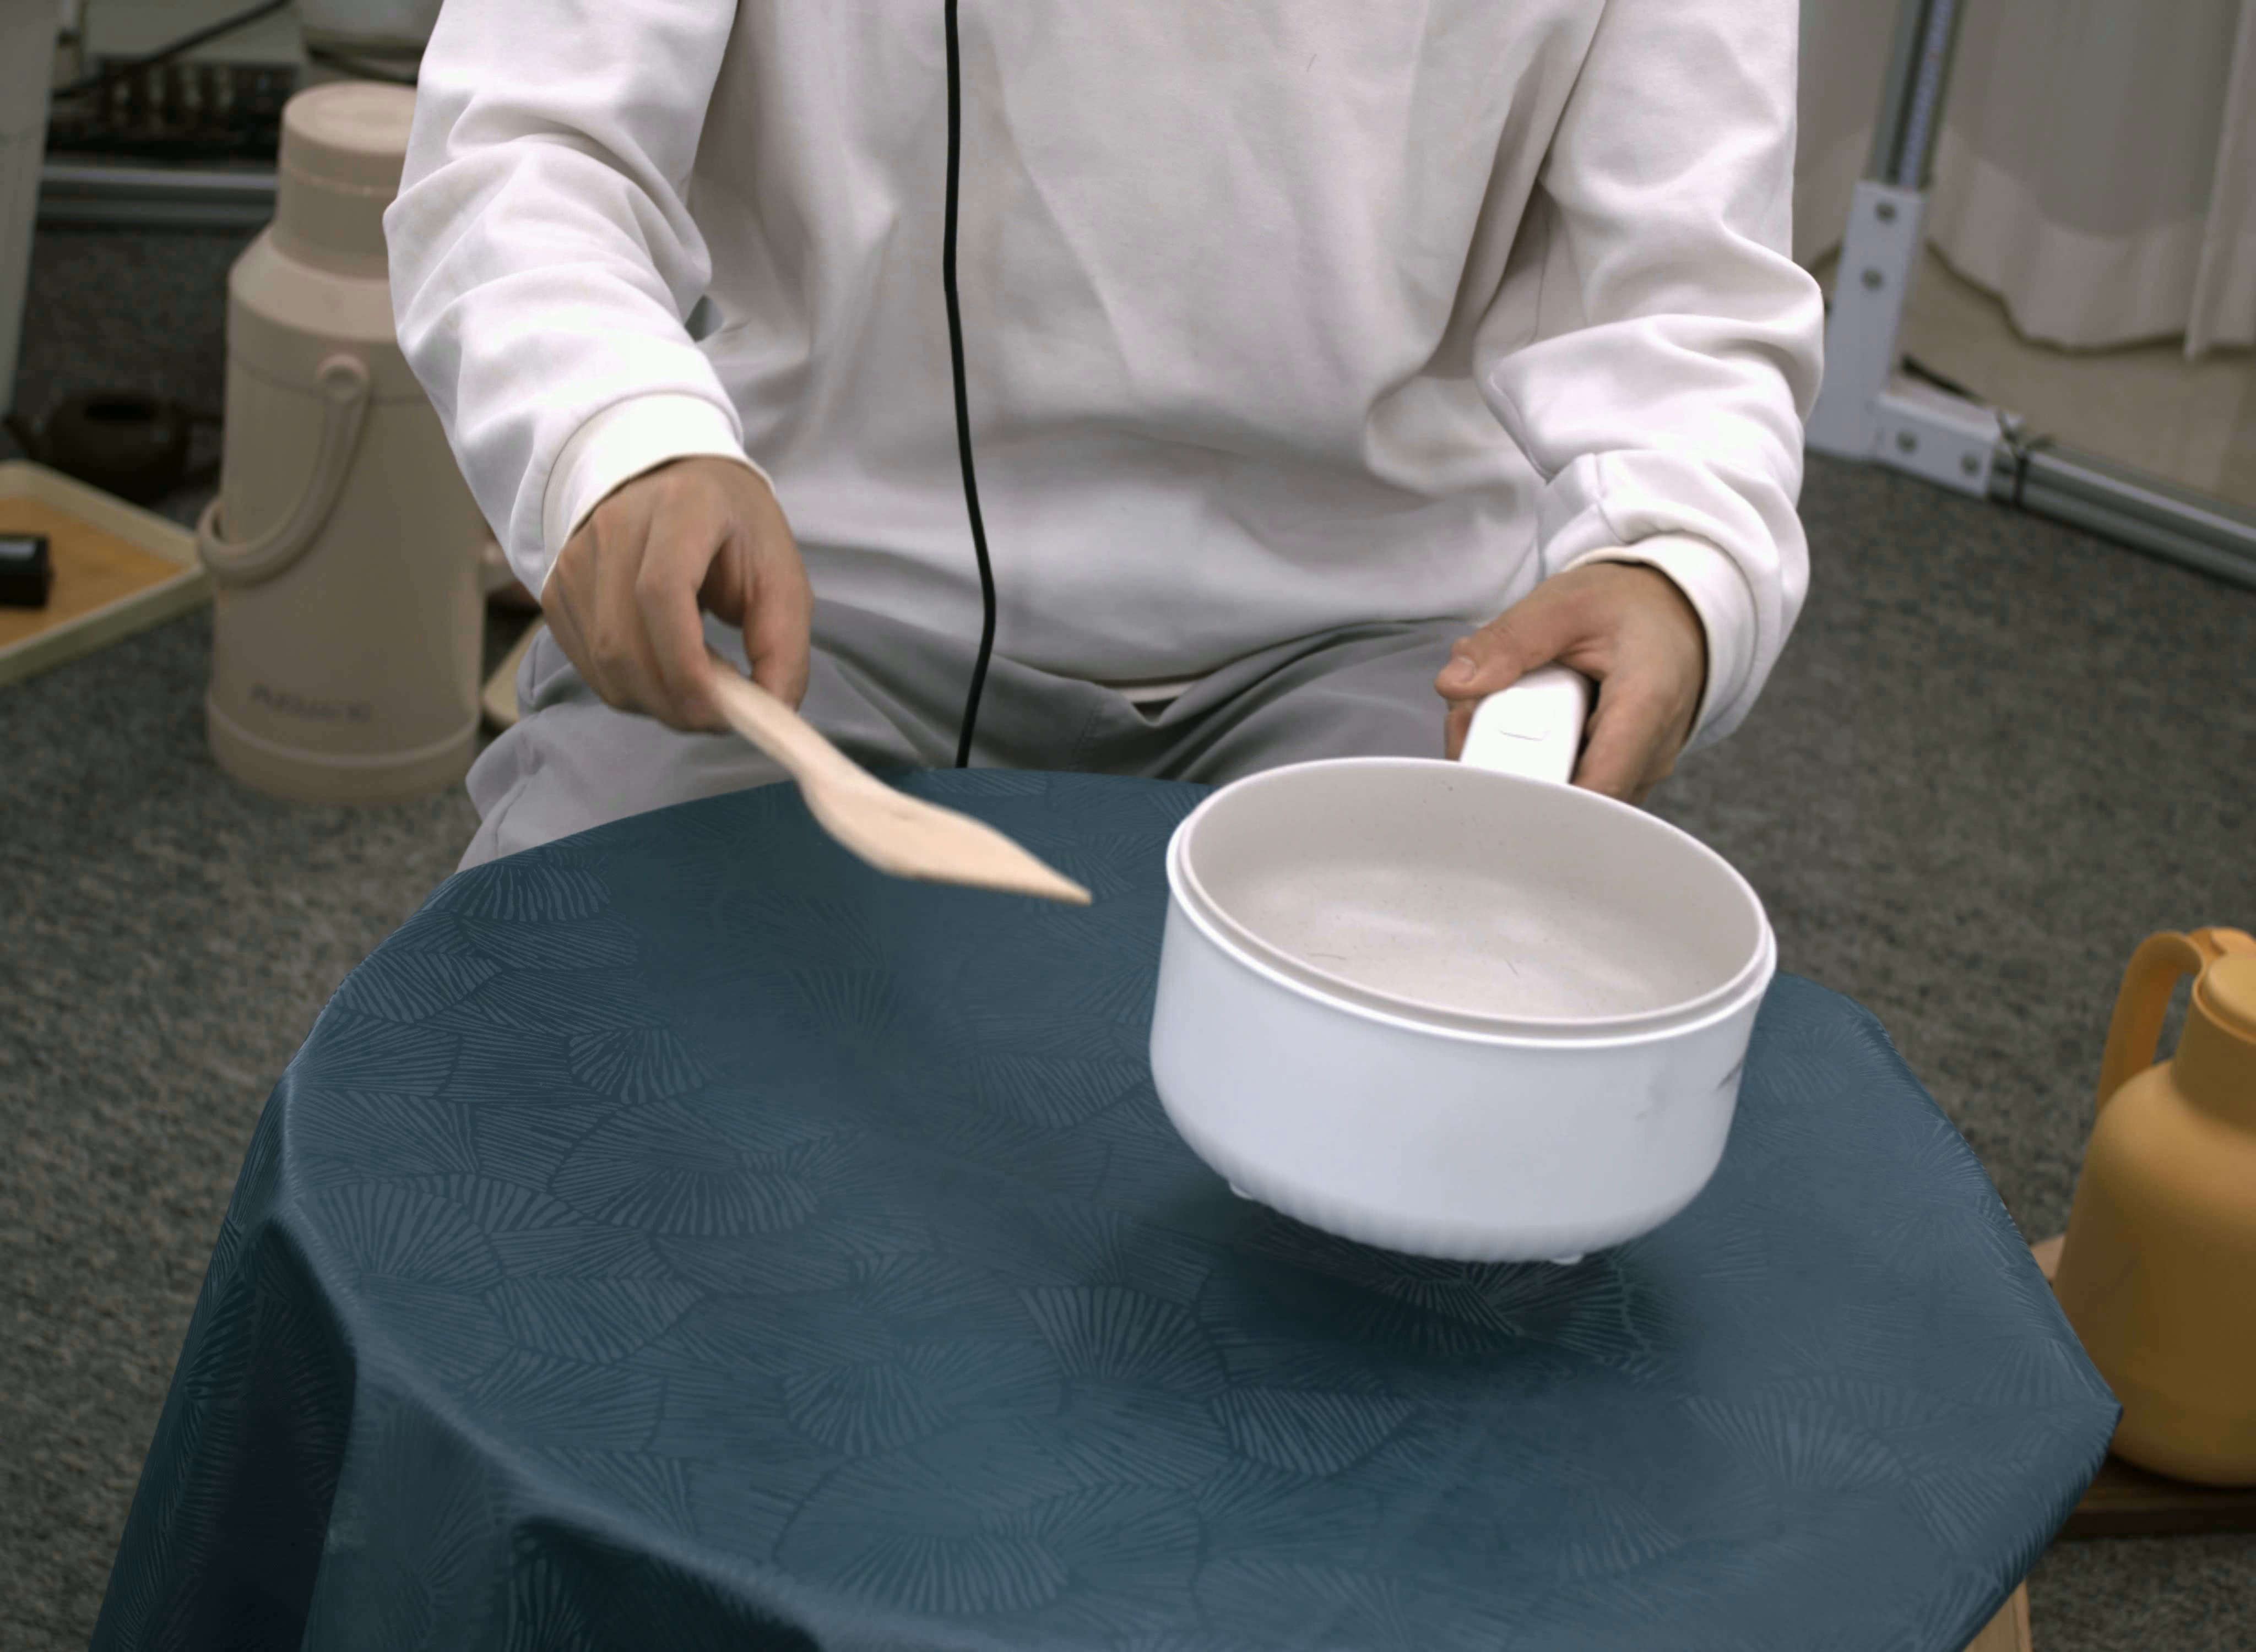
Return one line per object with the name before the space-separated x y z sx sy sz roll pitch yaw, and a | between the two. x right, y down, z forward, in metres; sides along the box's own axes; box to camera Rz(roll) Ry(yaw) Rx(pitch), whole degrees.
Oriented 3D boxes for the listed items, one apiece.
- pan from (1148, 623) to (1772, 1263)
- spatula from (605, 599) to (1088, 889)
pan | 0.118 0.036 1.824 0.201 0.102 0.356 10 23 7
spatula | -0.109 -0.031 1.780 0.071 0.010 0.295 9 14 -32
